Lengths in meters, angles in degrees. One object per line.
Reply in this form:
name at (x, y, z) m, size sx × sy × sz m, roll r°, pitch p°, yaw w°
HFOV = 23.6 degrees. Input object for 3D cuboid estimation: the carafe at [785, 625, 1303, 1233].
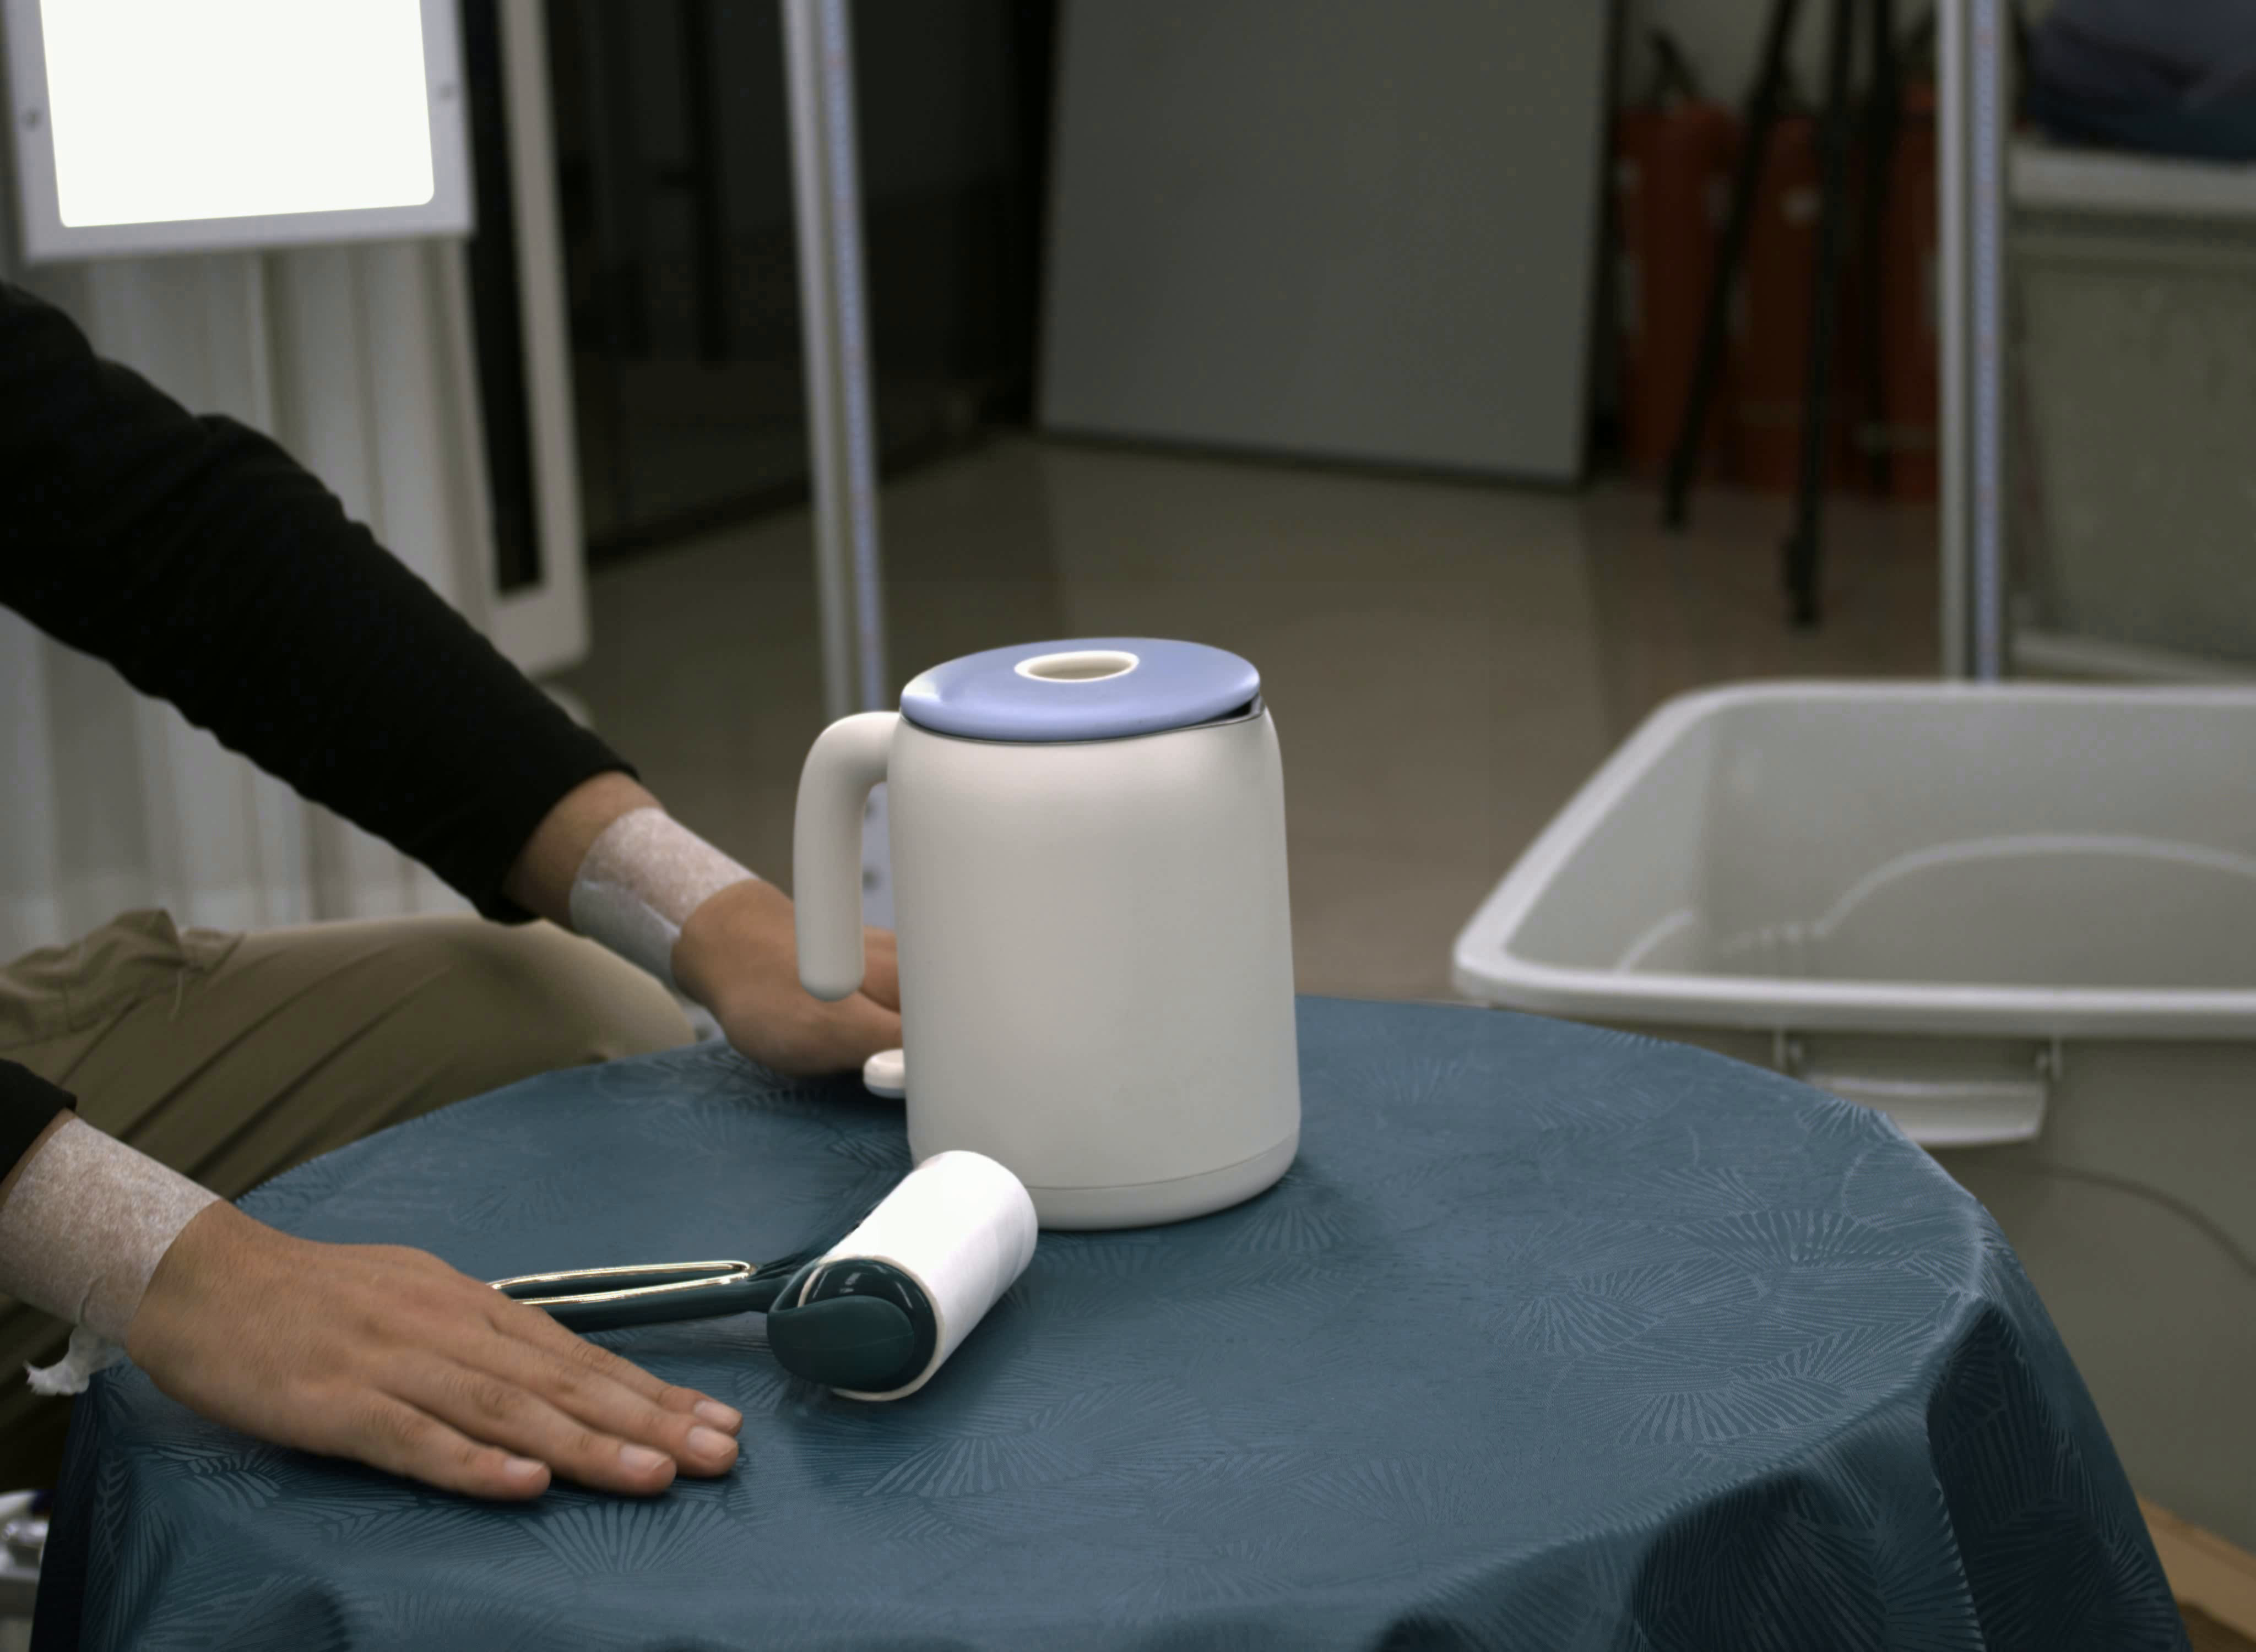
carafe at (-0.032, 0.032, 1.780) m, size 0.192 × 0.184 × 0.130 m, roll 2°, pitch 14°, yaw 32°

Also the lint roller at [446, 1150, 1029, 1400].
lint roller at (-0.127, 0.138, 1.651) m, size 0.179 × 0.049 × 0.133 m, roll -3°, pitch 13°, yaw 18°
